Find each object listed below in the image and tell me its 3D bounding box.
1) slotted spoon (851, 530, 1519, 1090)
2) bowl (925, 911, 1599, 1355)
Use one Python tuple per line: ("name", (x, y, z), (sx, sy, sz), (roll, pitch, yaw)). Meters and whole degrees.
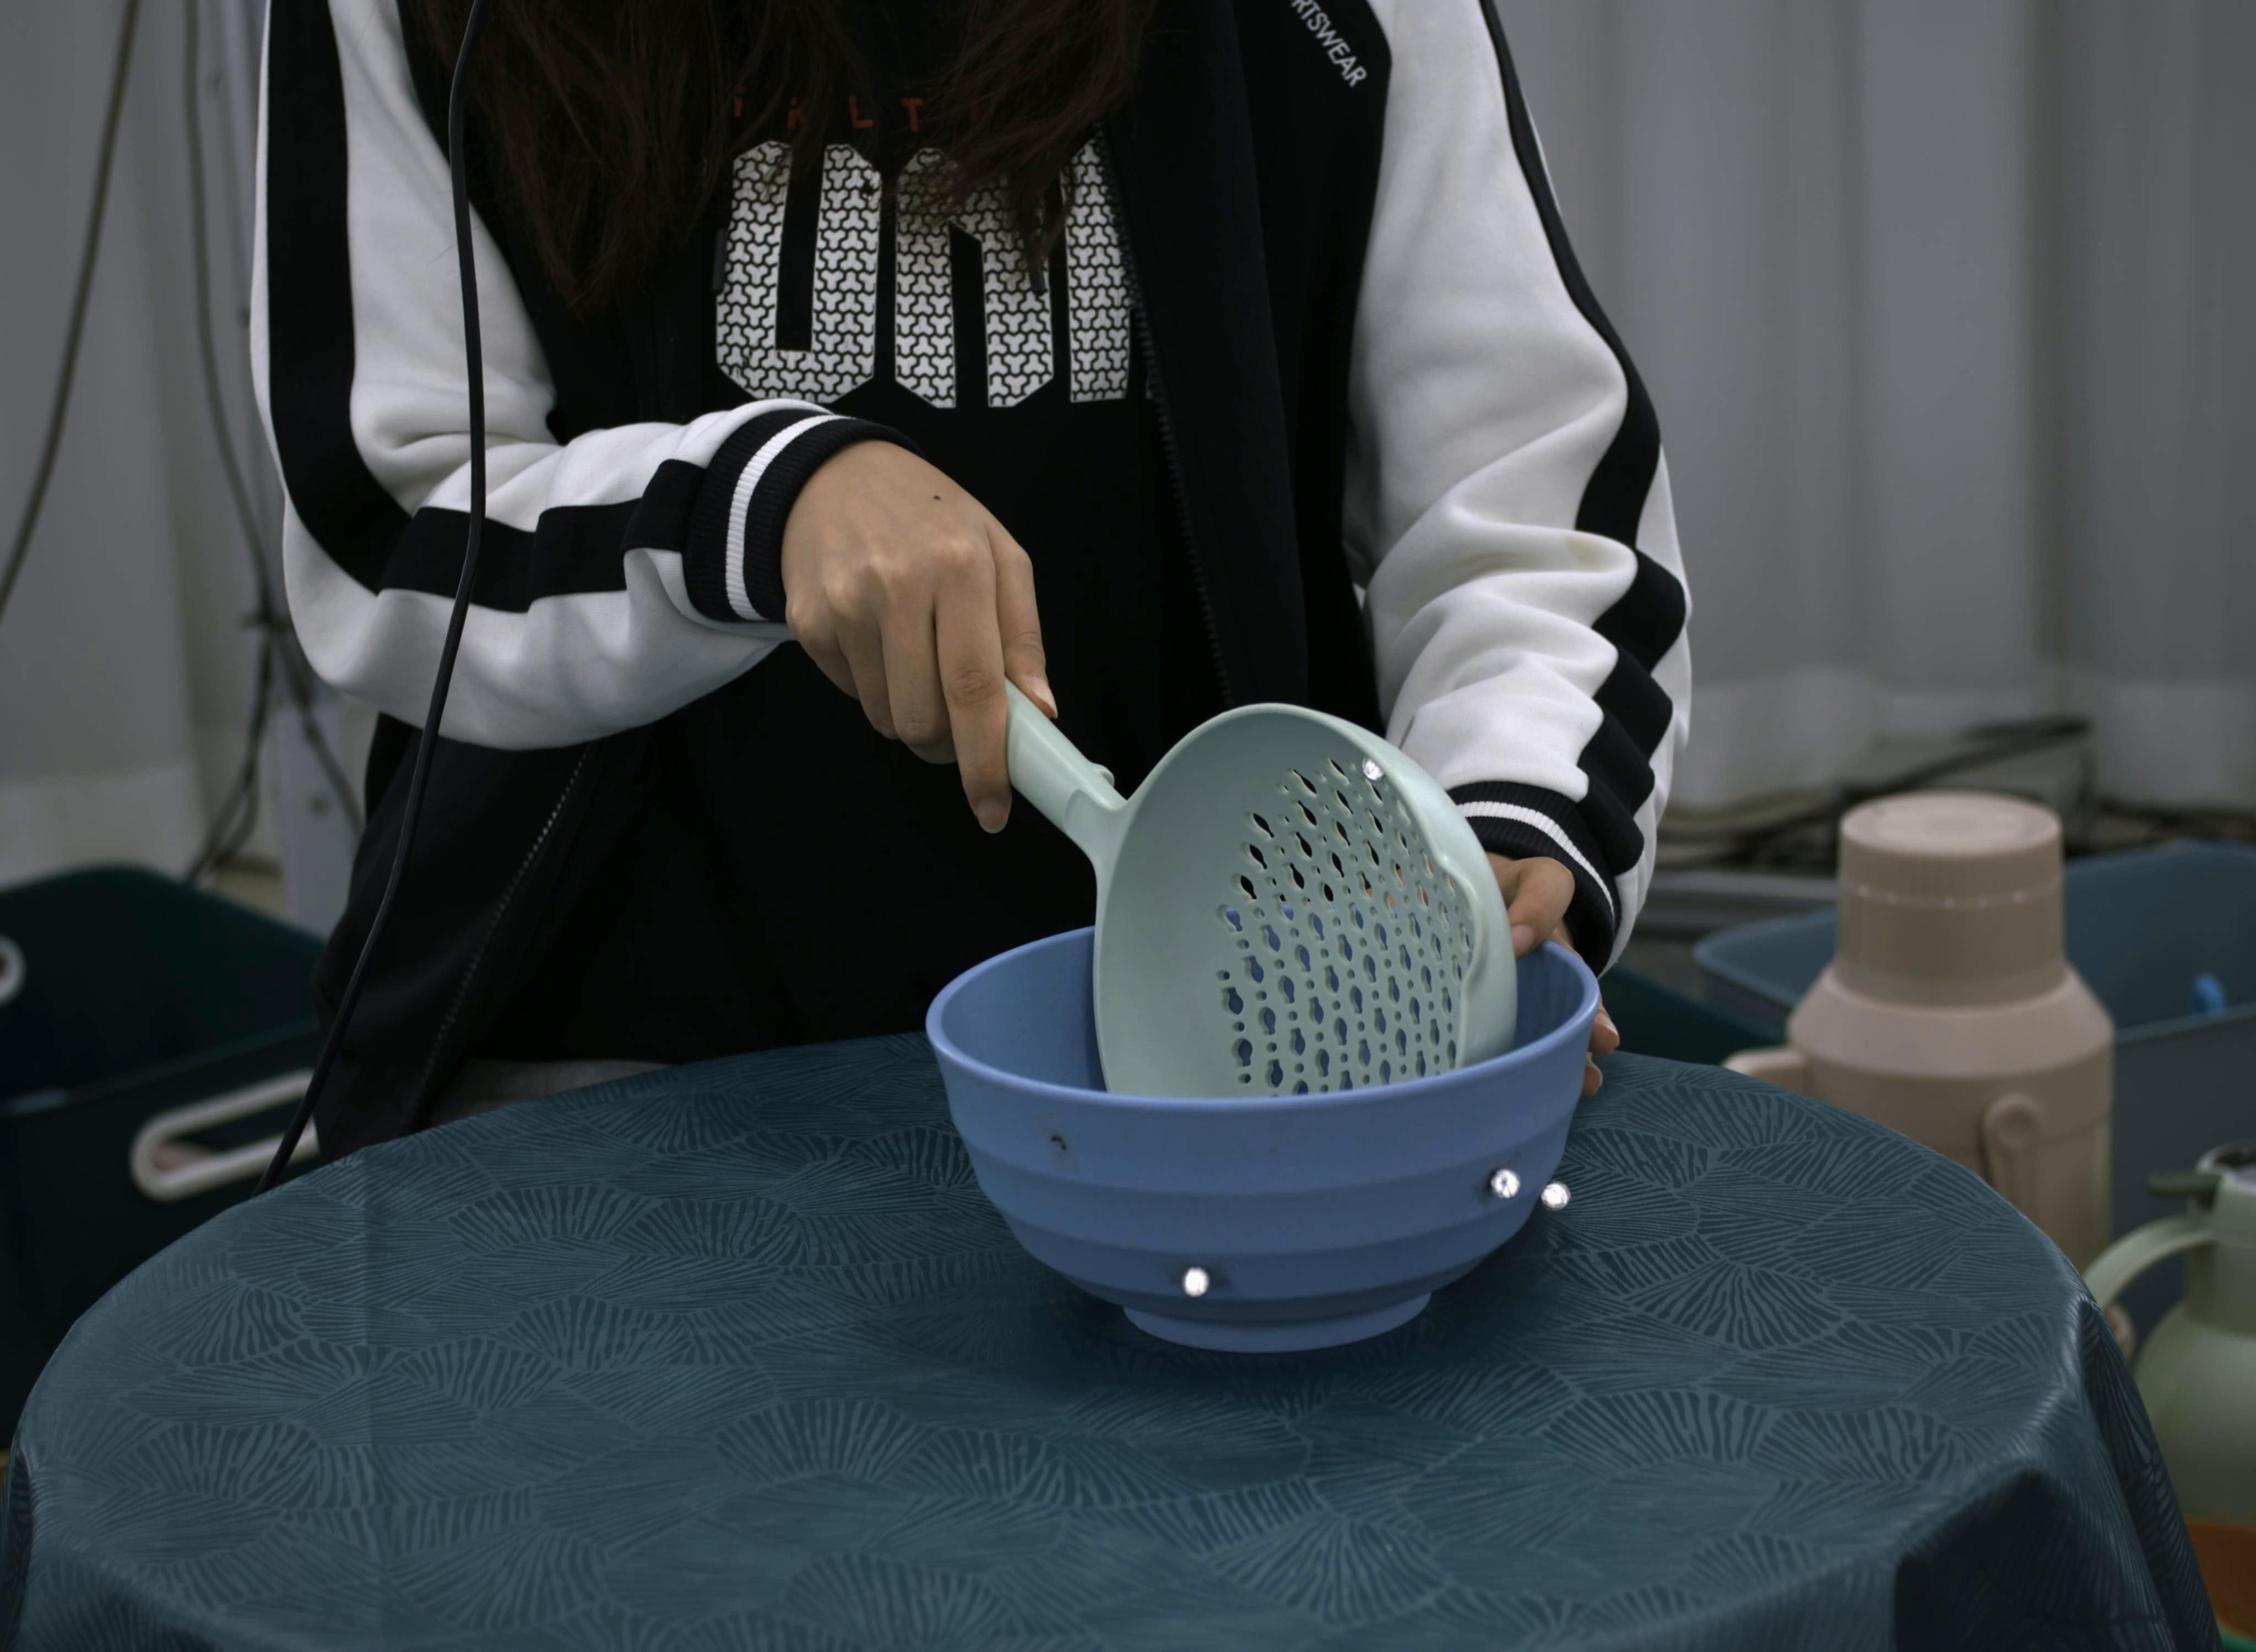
("slotted spoon", (0.000, -0.001, 1.671), (0.075, 0.168, 0.363), (-4, 32, -44))
("bowl", (0.041, 0.094, 1.599), (0.196, 0.095, 0.198), (-3, 15, 1))
